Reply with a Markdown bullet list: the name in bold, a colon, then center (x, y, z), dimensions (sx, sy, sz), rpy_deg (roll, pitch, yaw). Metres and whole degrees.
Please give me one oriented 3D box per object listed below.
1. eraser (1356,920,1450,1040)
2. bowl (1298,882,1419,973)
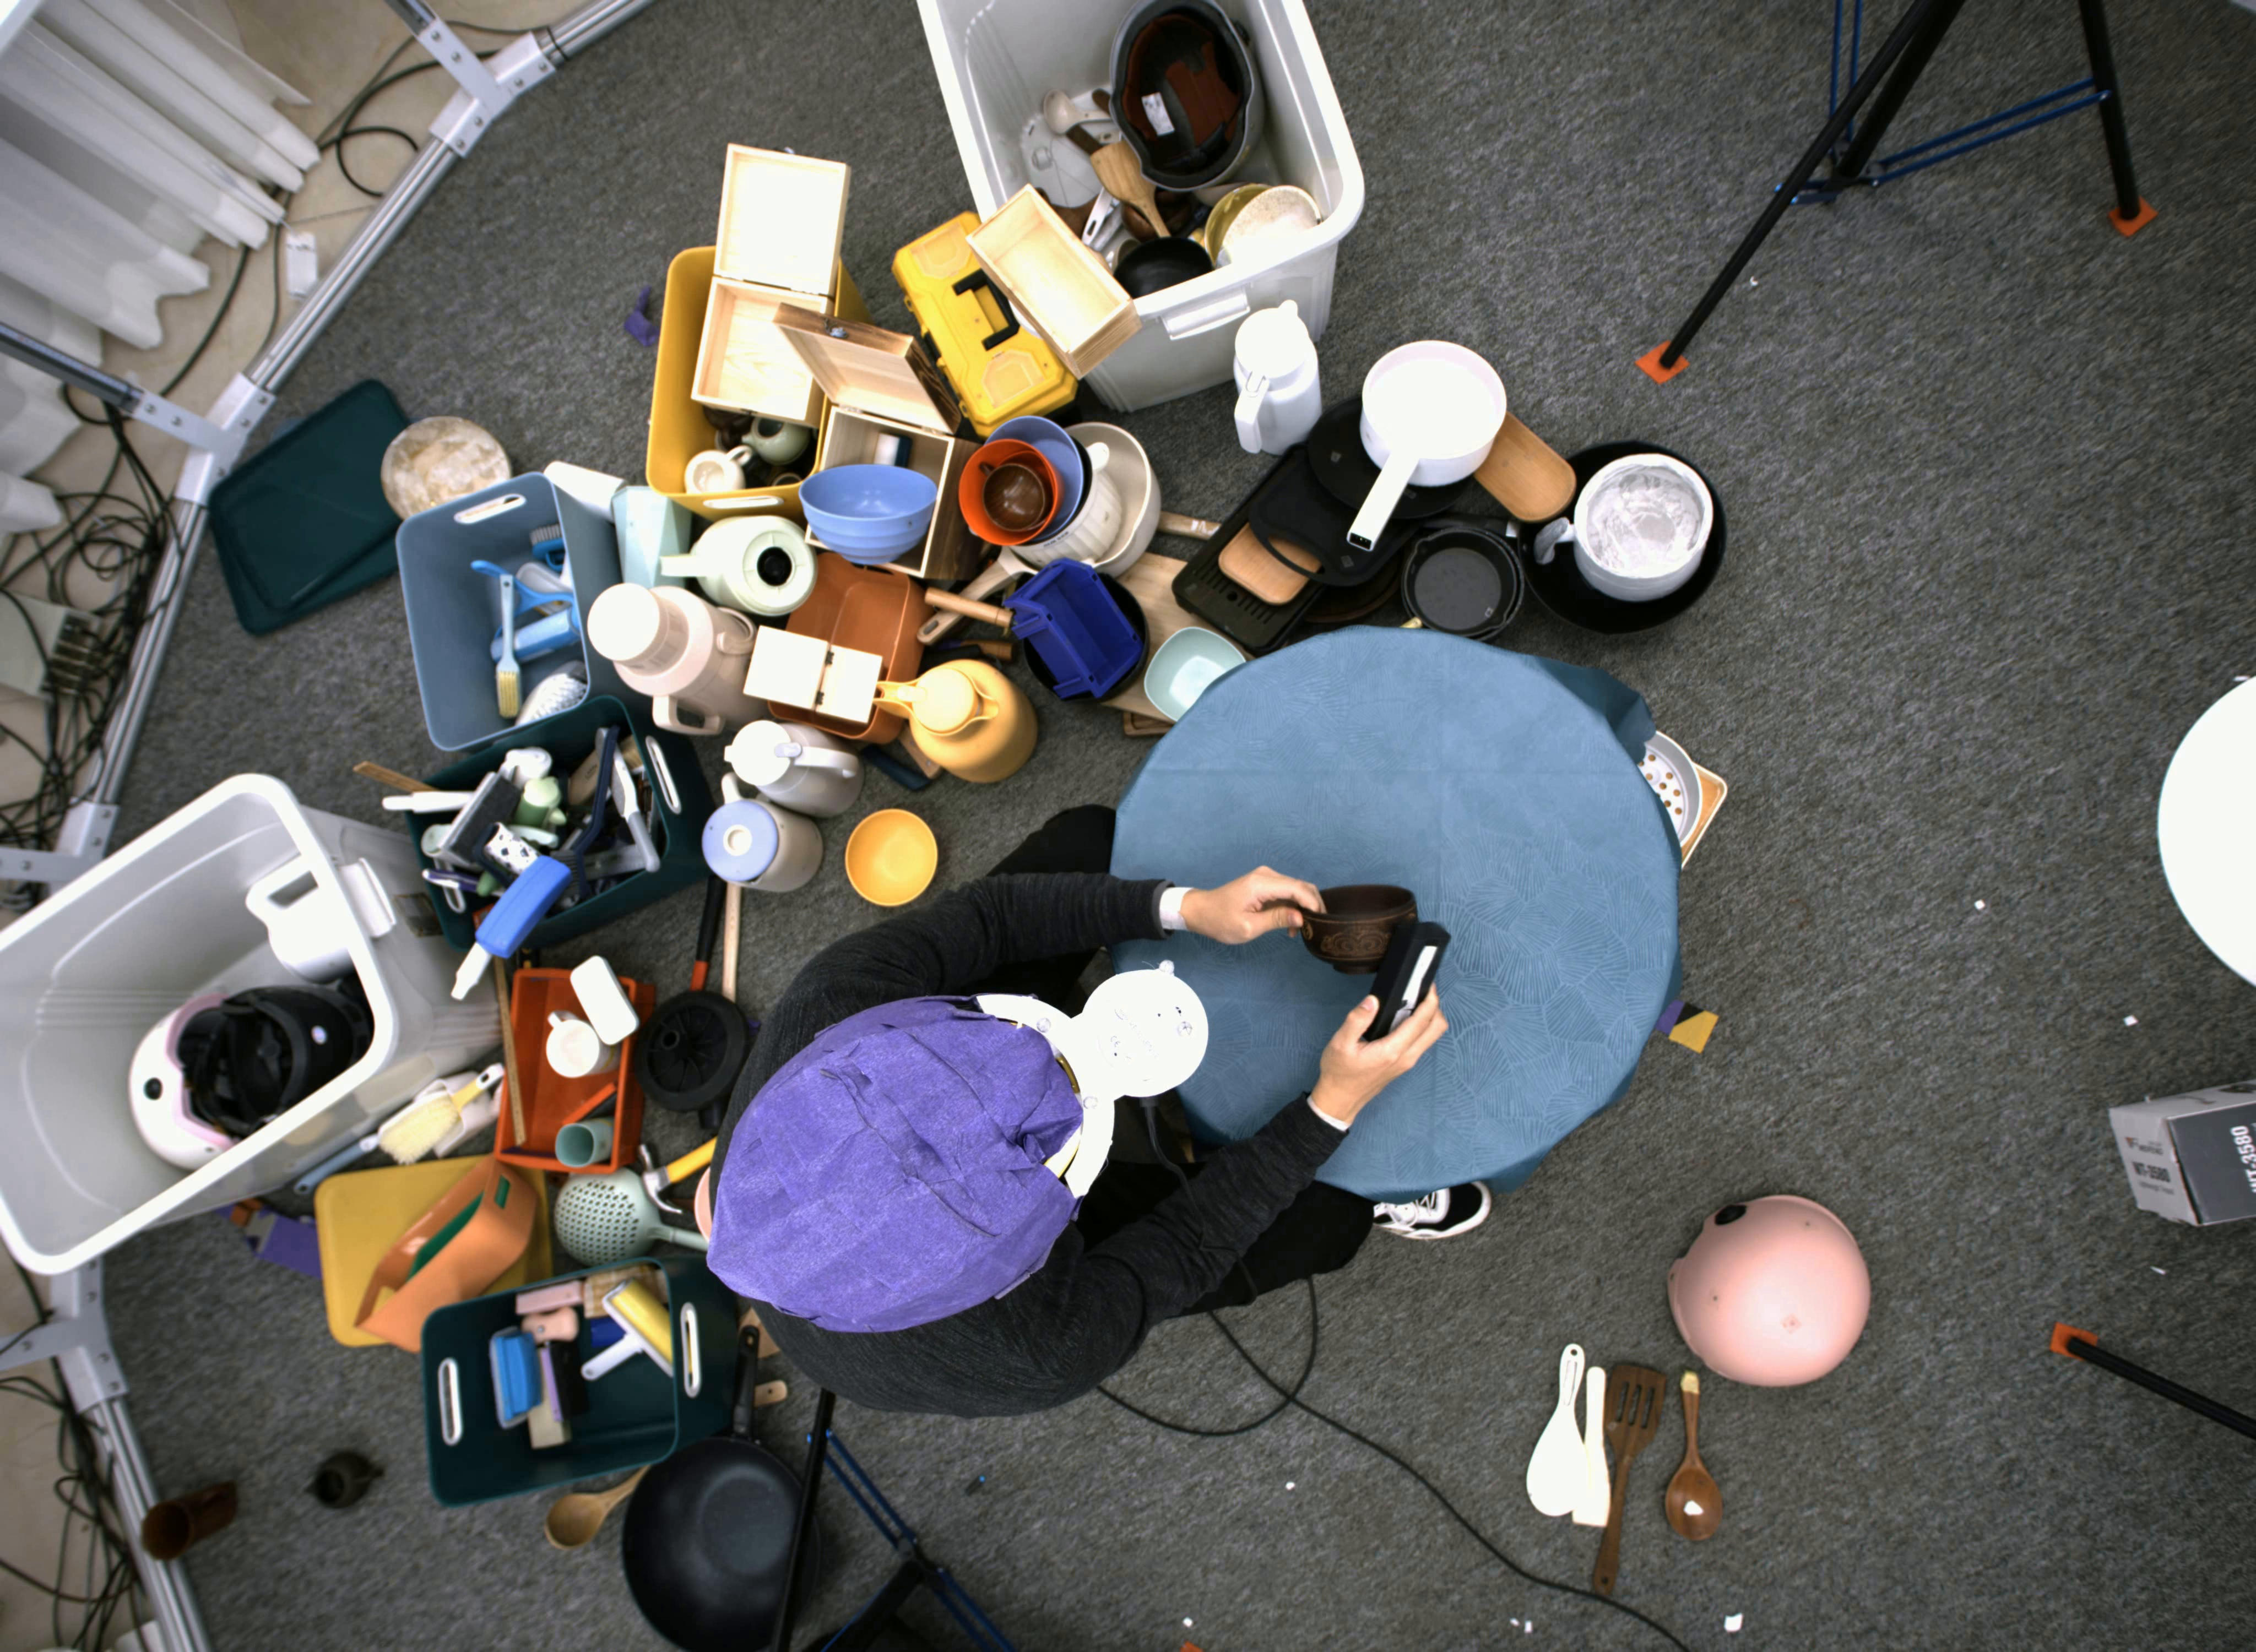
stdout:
- **eraser**: center (0.262, 0.146, 1.321), dimensions (0.053, 0.030, 0.128), rpy_deg (-1, 123, -26)
- **bowl**: center (0.228, 0.102, 1.359), dimensions (0.118, 0.116, 0.070), rpy_deg (-7, 102, 9)
